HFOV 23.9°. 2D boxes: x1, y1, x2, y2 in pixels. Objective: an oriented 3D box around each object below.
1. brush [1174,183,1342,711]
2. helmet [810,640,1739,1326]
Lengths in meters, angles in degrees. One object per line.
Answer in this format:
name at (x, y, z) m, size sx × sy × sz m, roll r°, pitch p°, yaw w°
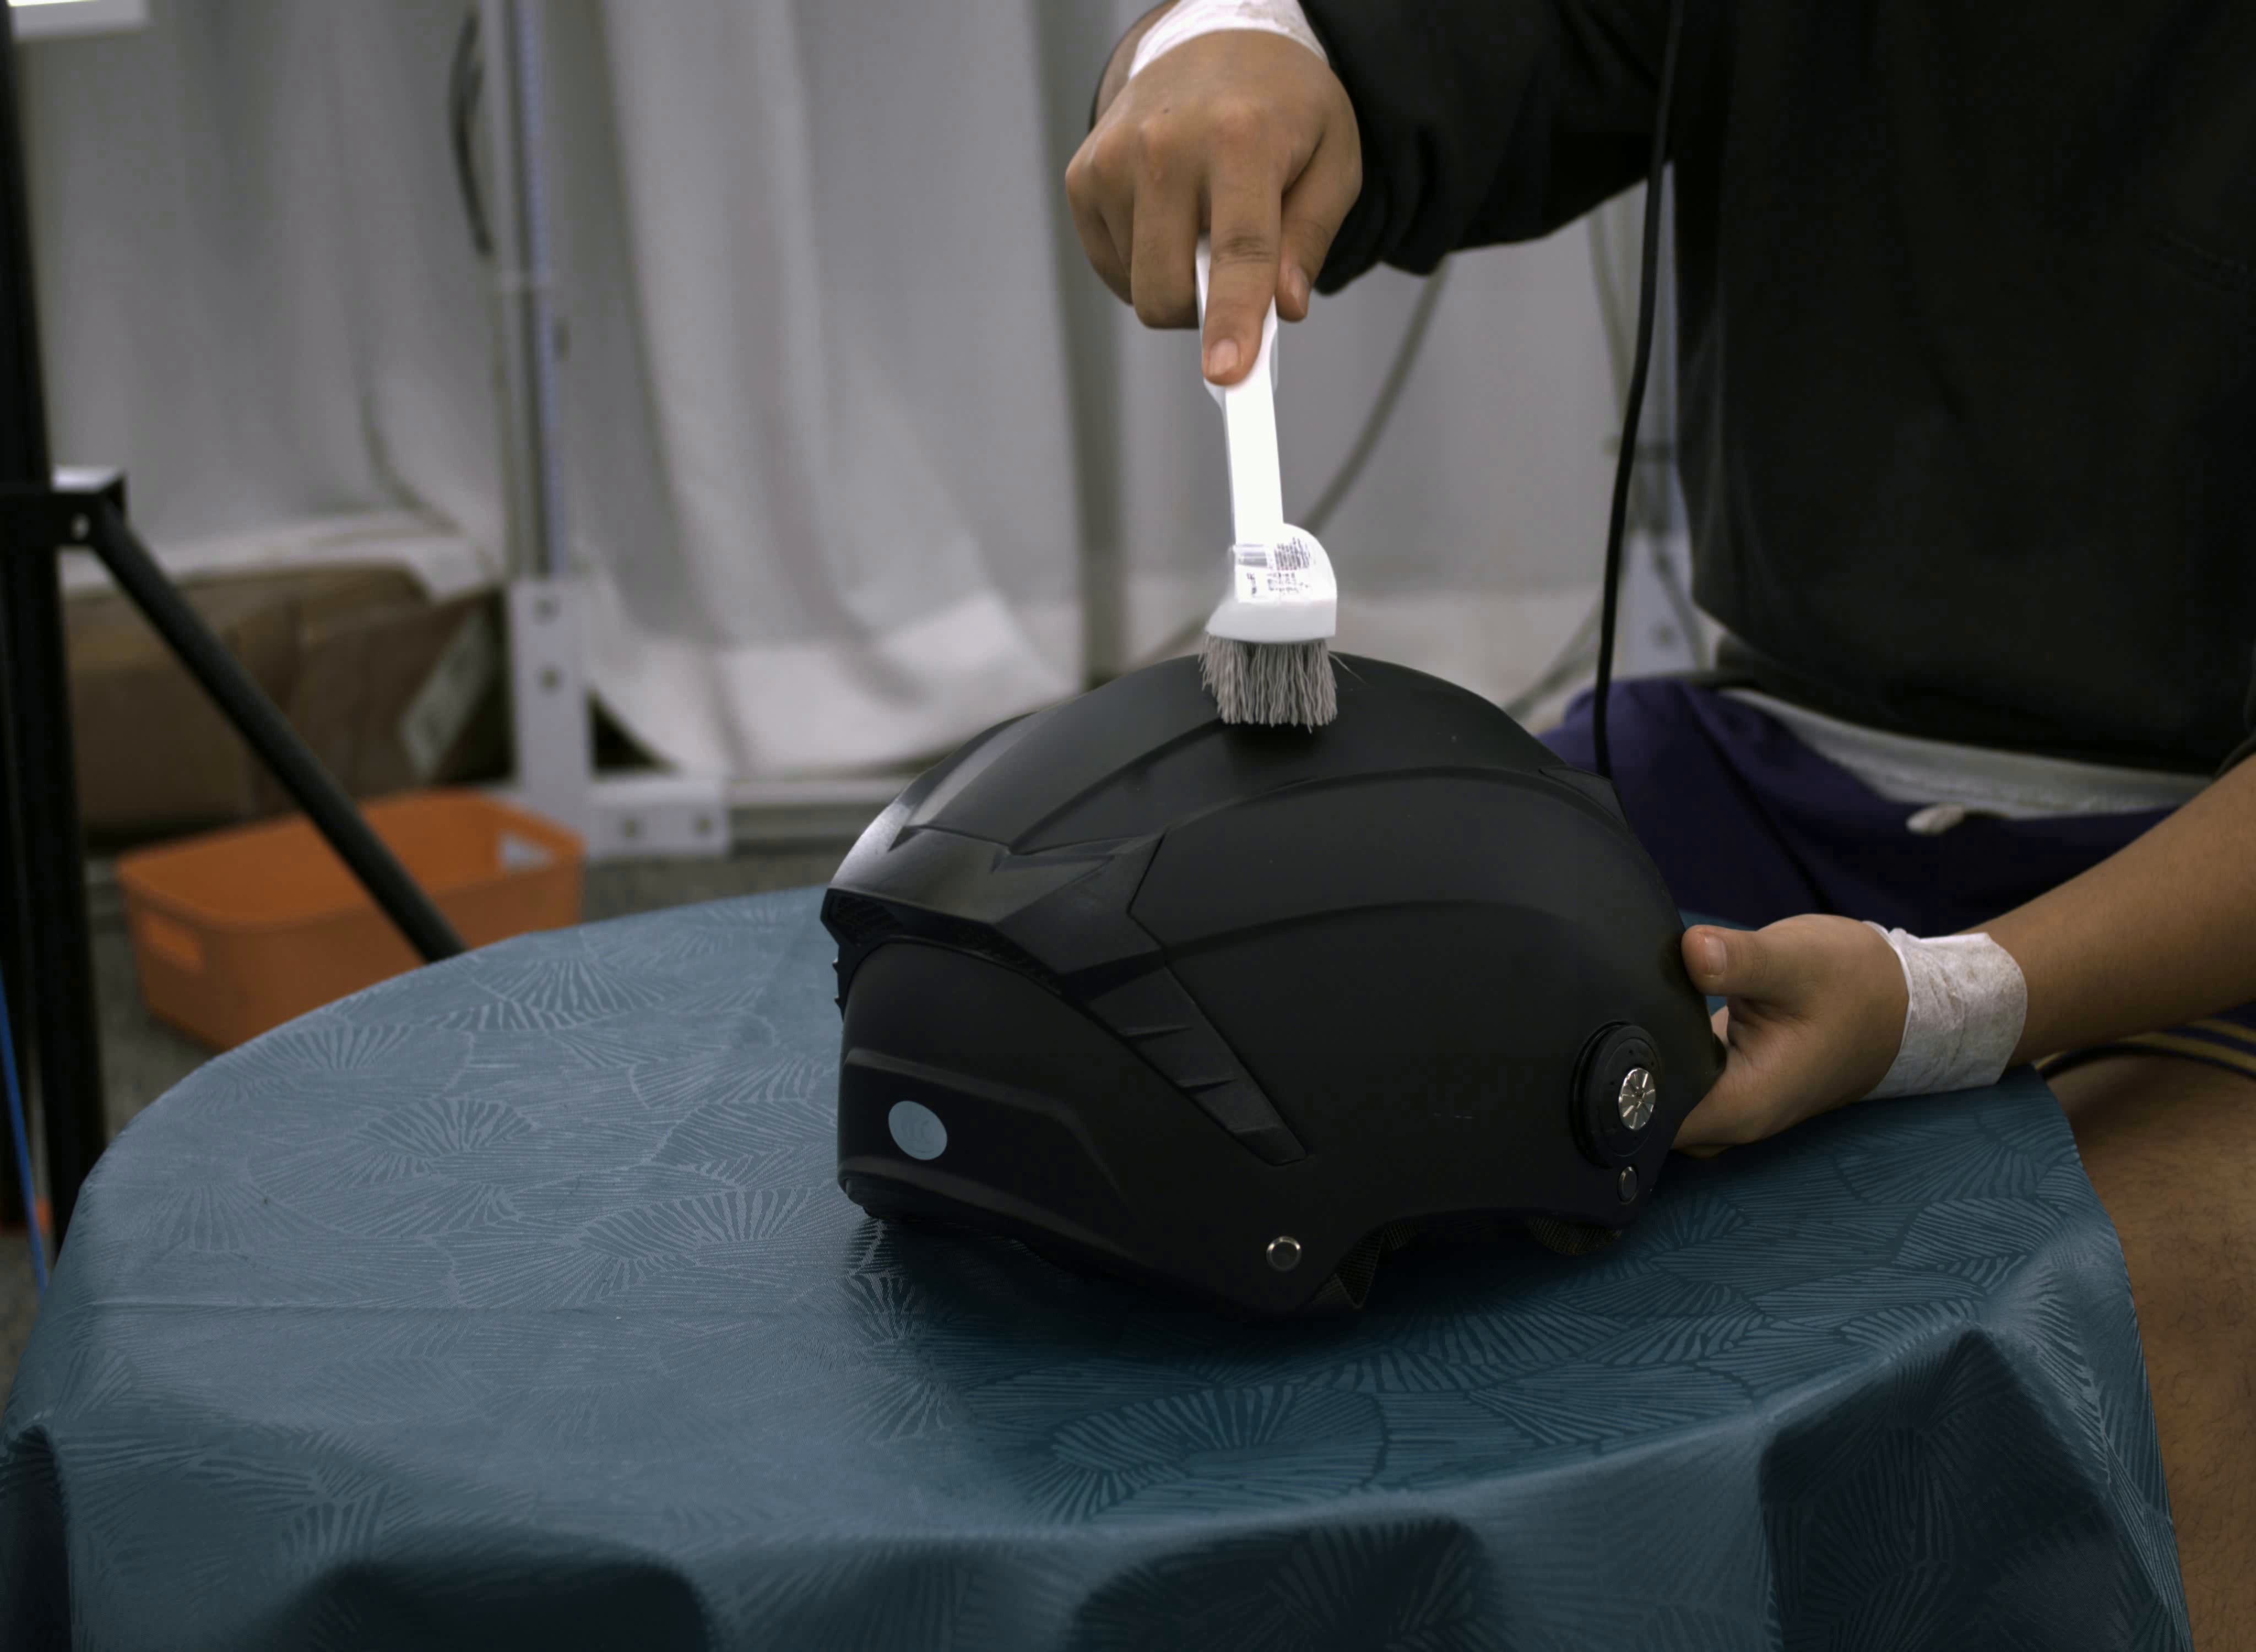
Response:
brush at (0.034, -0.108, 1.537) m, size 0.034 × 0.050 × 0.246 m, roll -3°, pitch 35°, yaw -3°
helmet at (0.042, 0.032, 1.518) m, size 0.271 × 0.172 × 0.252 m, roll -19°, pitch 21°, yaw -37°
